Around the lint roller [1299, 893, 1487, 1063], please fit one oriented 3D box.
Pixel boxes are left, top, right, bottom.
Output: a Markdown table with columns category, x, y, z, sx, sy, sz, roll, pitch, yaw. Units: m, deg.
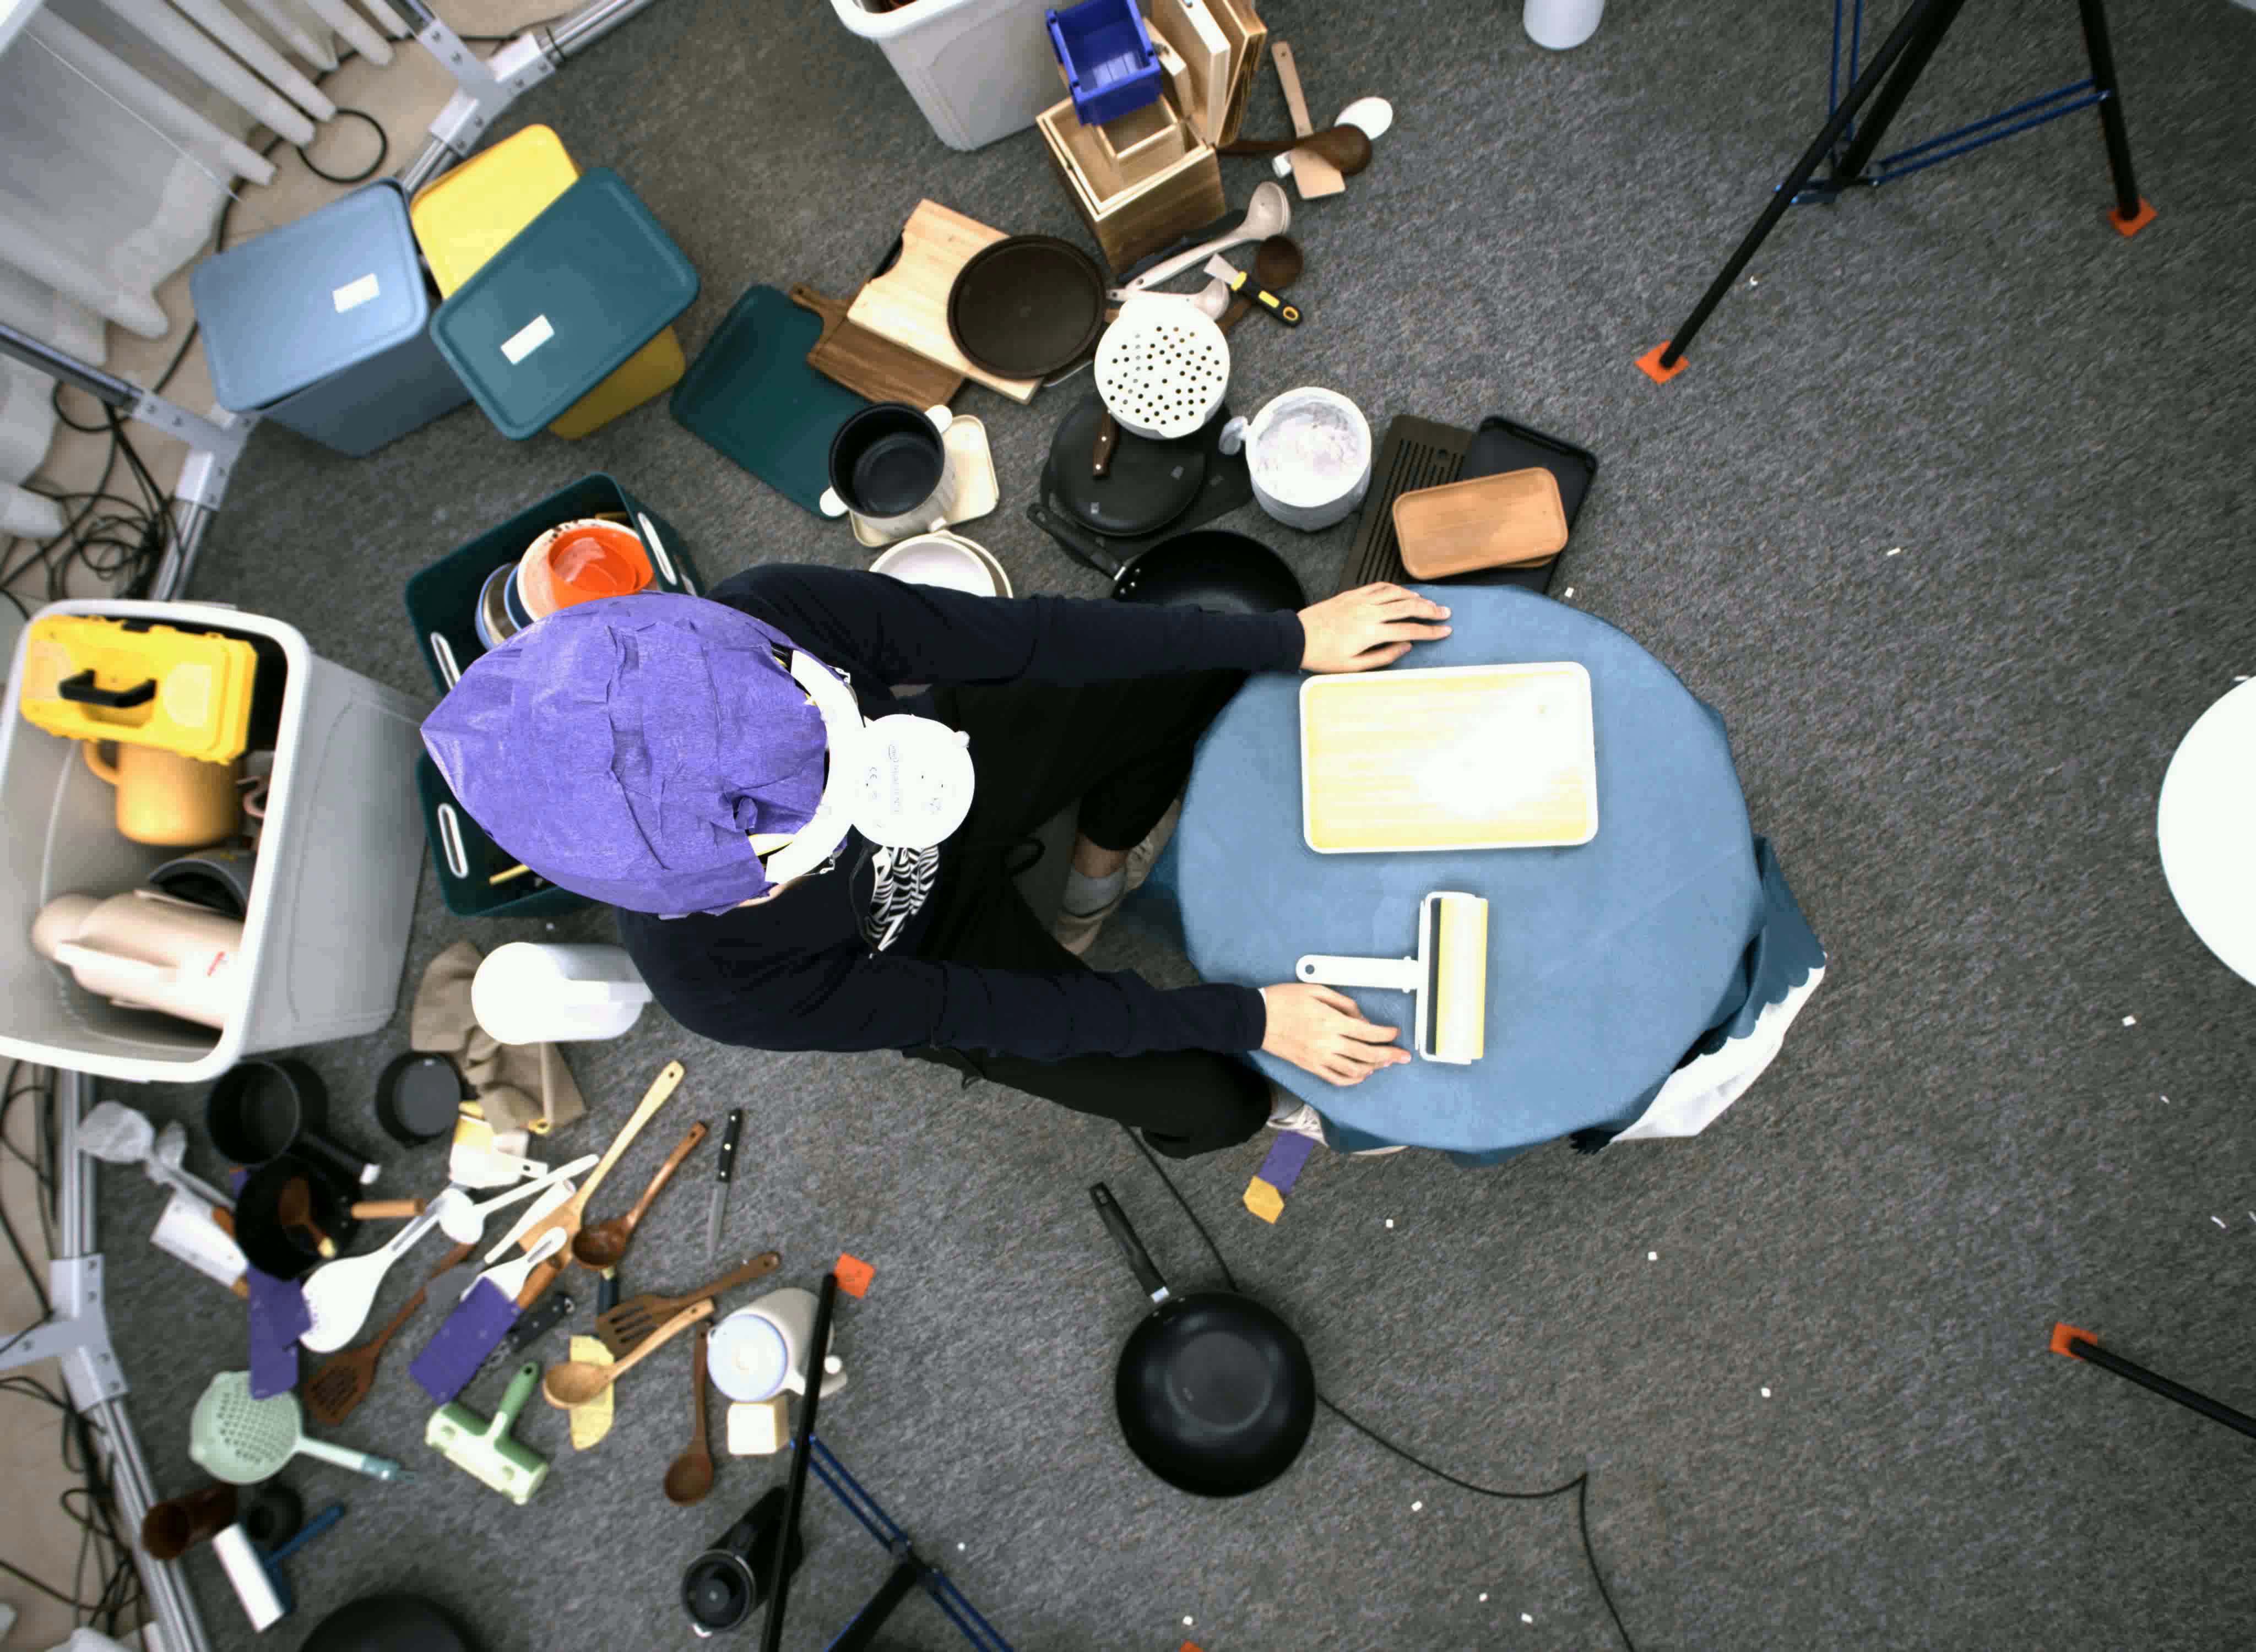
| category | x | y | z | sx | sy | sz | roll | pitch | yaw |
| --- | --- | --- | --- | --- | --- | --- | --- | --- | --- |
| lint roller | 0.273 | 0.154 | 1.430 | 0.192 | 0.051 | 0.173 | 1 | 86 | 8 |

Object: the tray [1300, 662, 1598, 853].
| category | x | y | z | sx | sy | sz | roll | pitch | yaw |
| --- | --- | --- | --- | --- | --- | --- | --- | --- | --- |
| tray | 0.334 | -0.072 | 1.442 | 0.301 | 0.027 | 0.190 | -2 | 86 | 11 |
